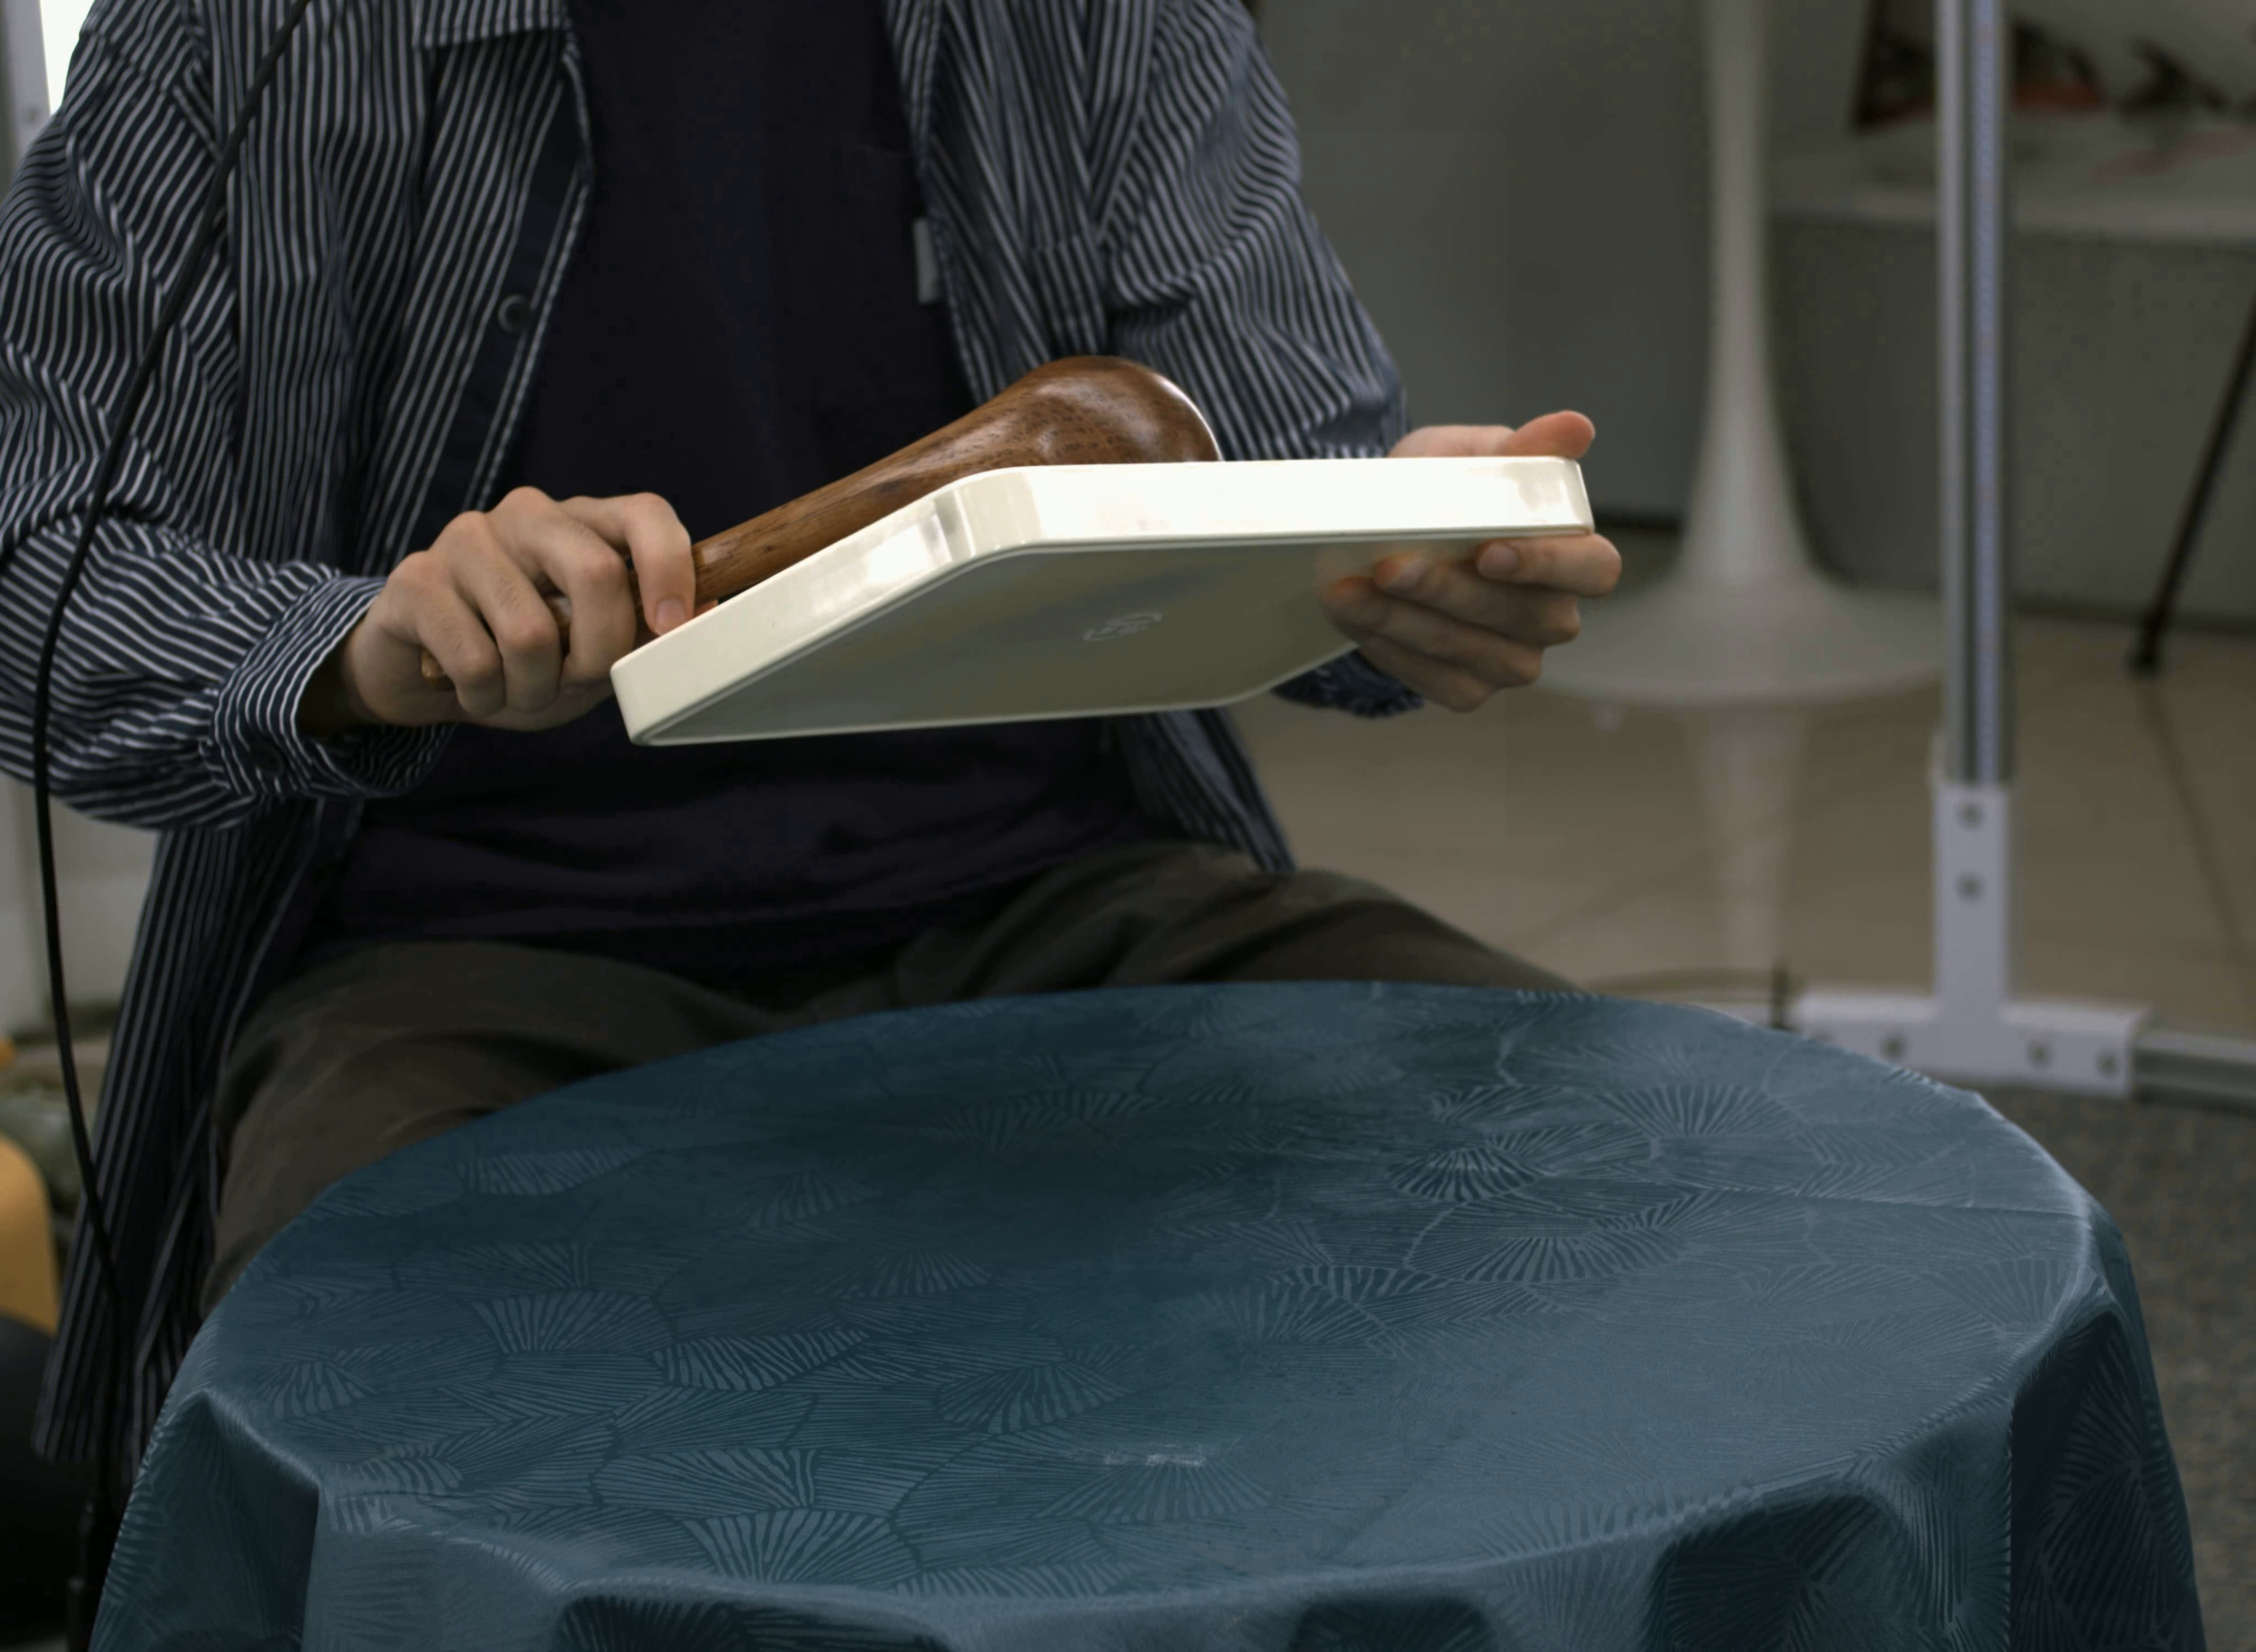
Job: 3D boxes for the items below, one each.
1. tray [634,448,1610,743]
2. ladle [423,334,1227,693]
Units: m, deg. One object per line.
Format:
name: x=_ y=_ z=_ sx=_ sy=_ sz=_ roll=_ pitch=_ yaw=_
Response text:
tray: x=0.002 y=-0.075 z=1.764 sx=0.293 sy=0.028 sz=0.193 roll=-4 pitch=-16 yaw=-45
ladle: x=-0.097 y=-0.087 z=1.757 sx=0.274 sy=0.075 sz=0.083 roll=-21 pitch=50 yaw=22
